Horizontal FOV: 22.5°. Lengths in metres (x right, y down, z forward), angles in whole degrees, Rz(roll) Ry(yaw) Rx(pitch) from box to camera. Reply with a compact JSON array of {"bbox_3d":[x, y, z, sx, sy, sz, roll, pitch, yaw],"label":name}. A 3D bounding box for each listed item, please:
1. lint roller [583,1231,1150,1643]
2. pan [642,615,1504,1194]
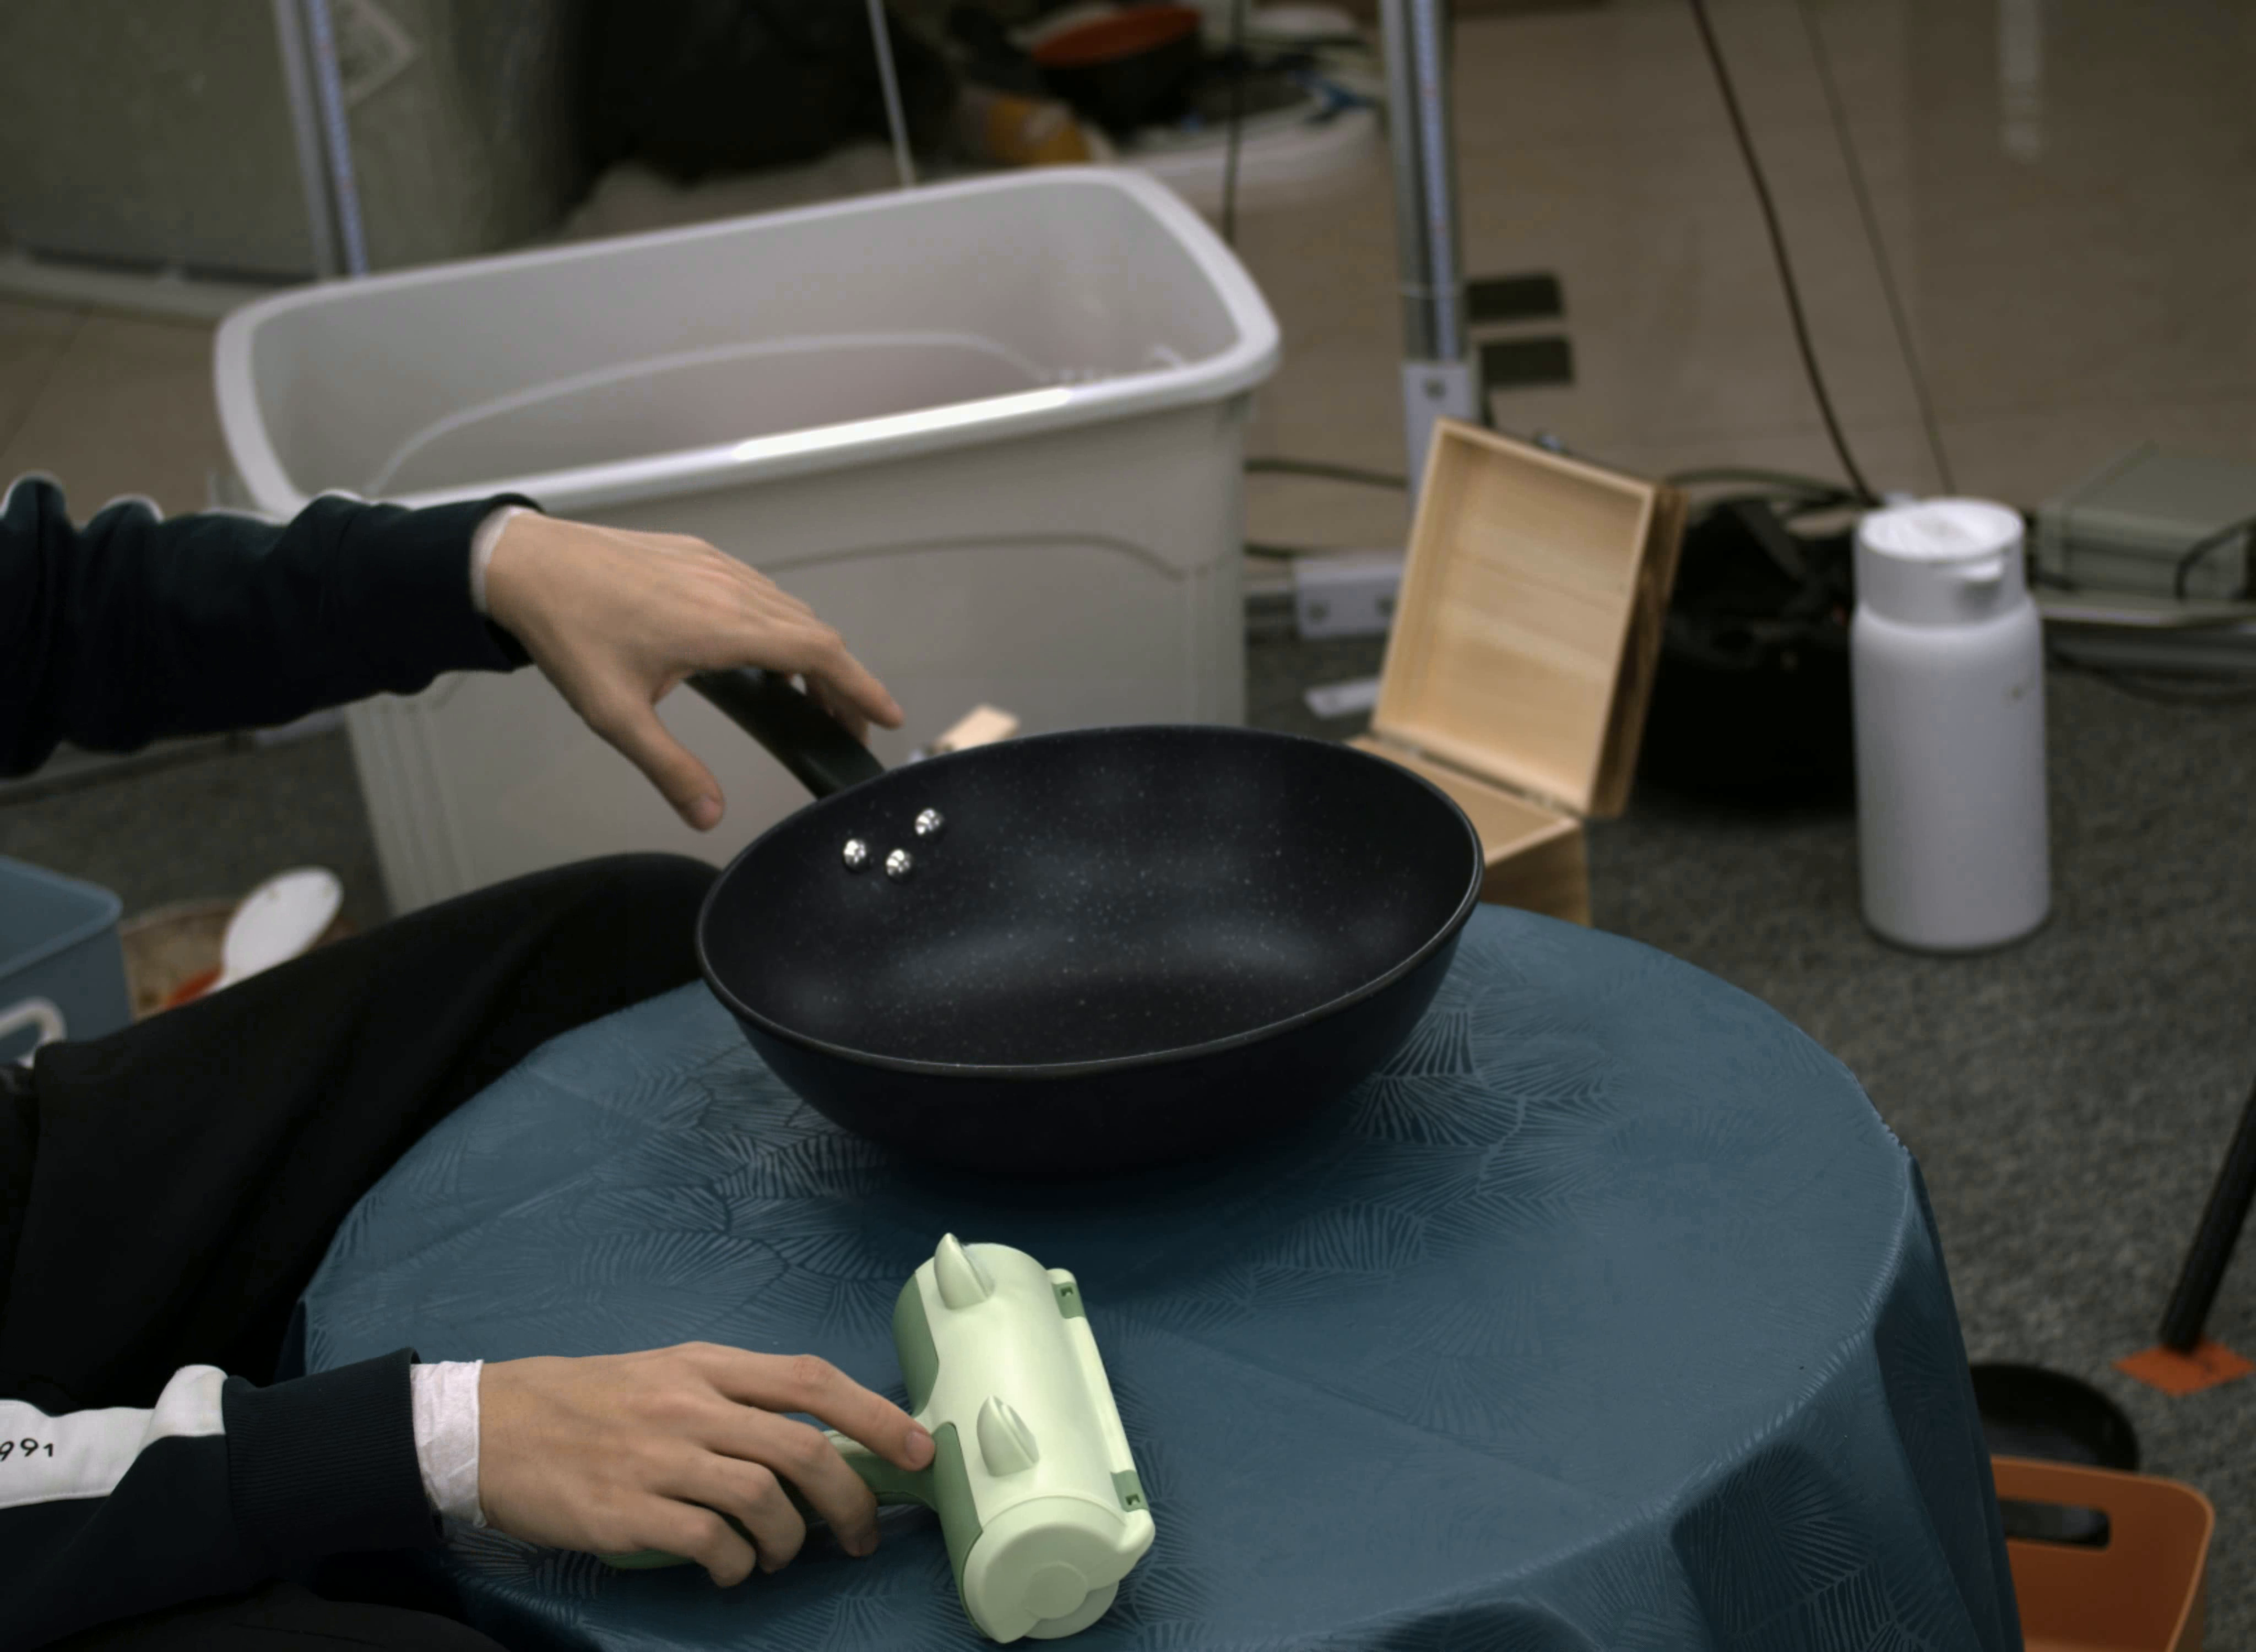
[{"bbox_3d":[-0.096,0.206,1.934,0.183,0.083,0.196,-5,25,-8],"label":"lint roller"},{"bbox_3d":[-0.057,0.030,2.264,0.308,0.113,0.472,-21,29,-31],"label":"pan"}]
